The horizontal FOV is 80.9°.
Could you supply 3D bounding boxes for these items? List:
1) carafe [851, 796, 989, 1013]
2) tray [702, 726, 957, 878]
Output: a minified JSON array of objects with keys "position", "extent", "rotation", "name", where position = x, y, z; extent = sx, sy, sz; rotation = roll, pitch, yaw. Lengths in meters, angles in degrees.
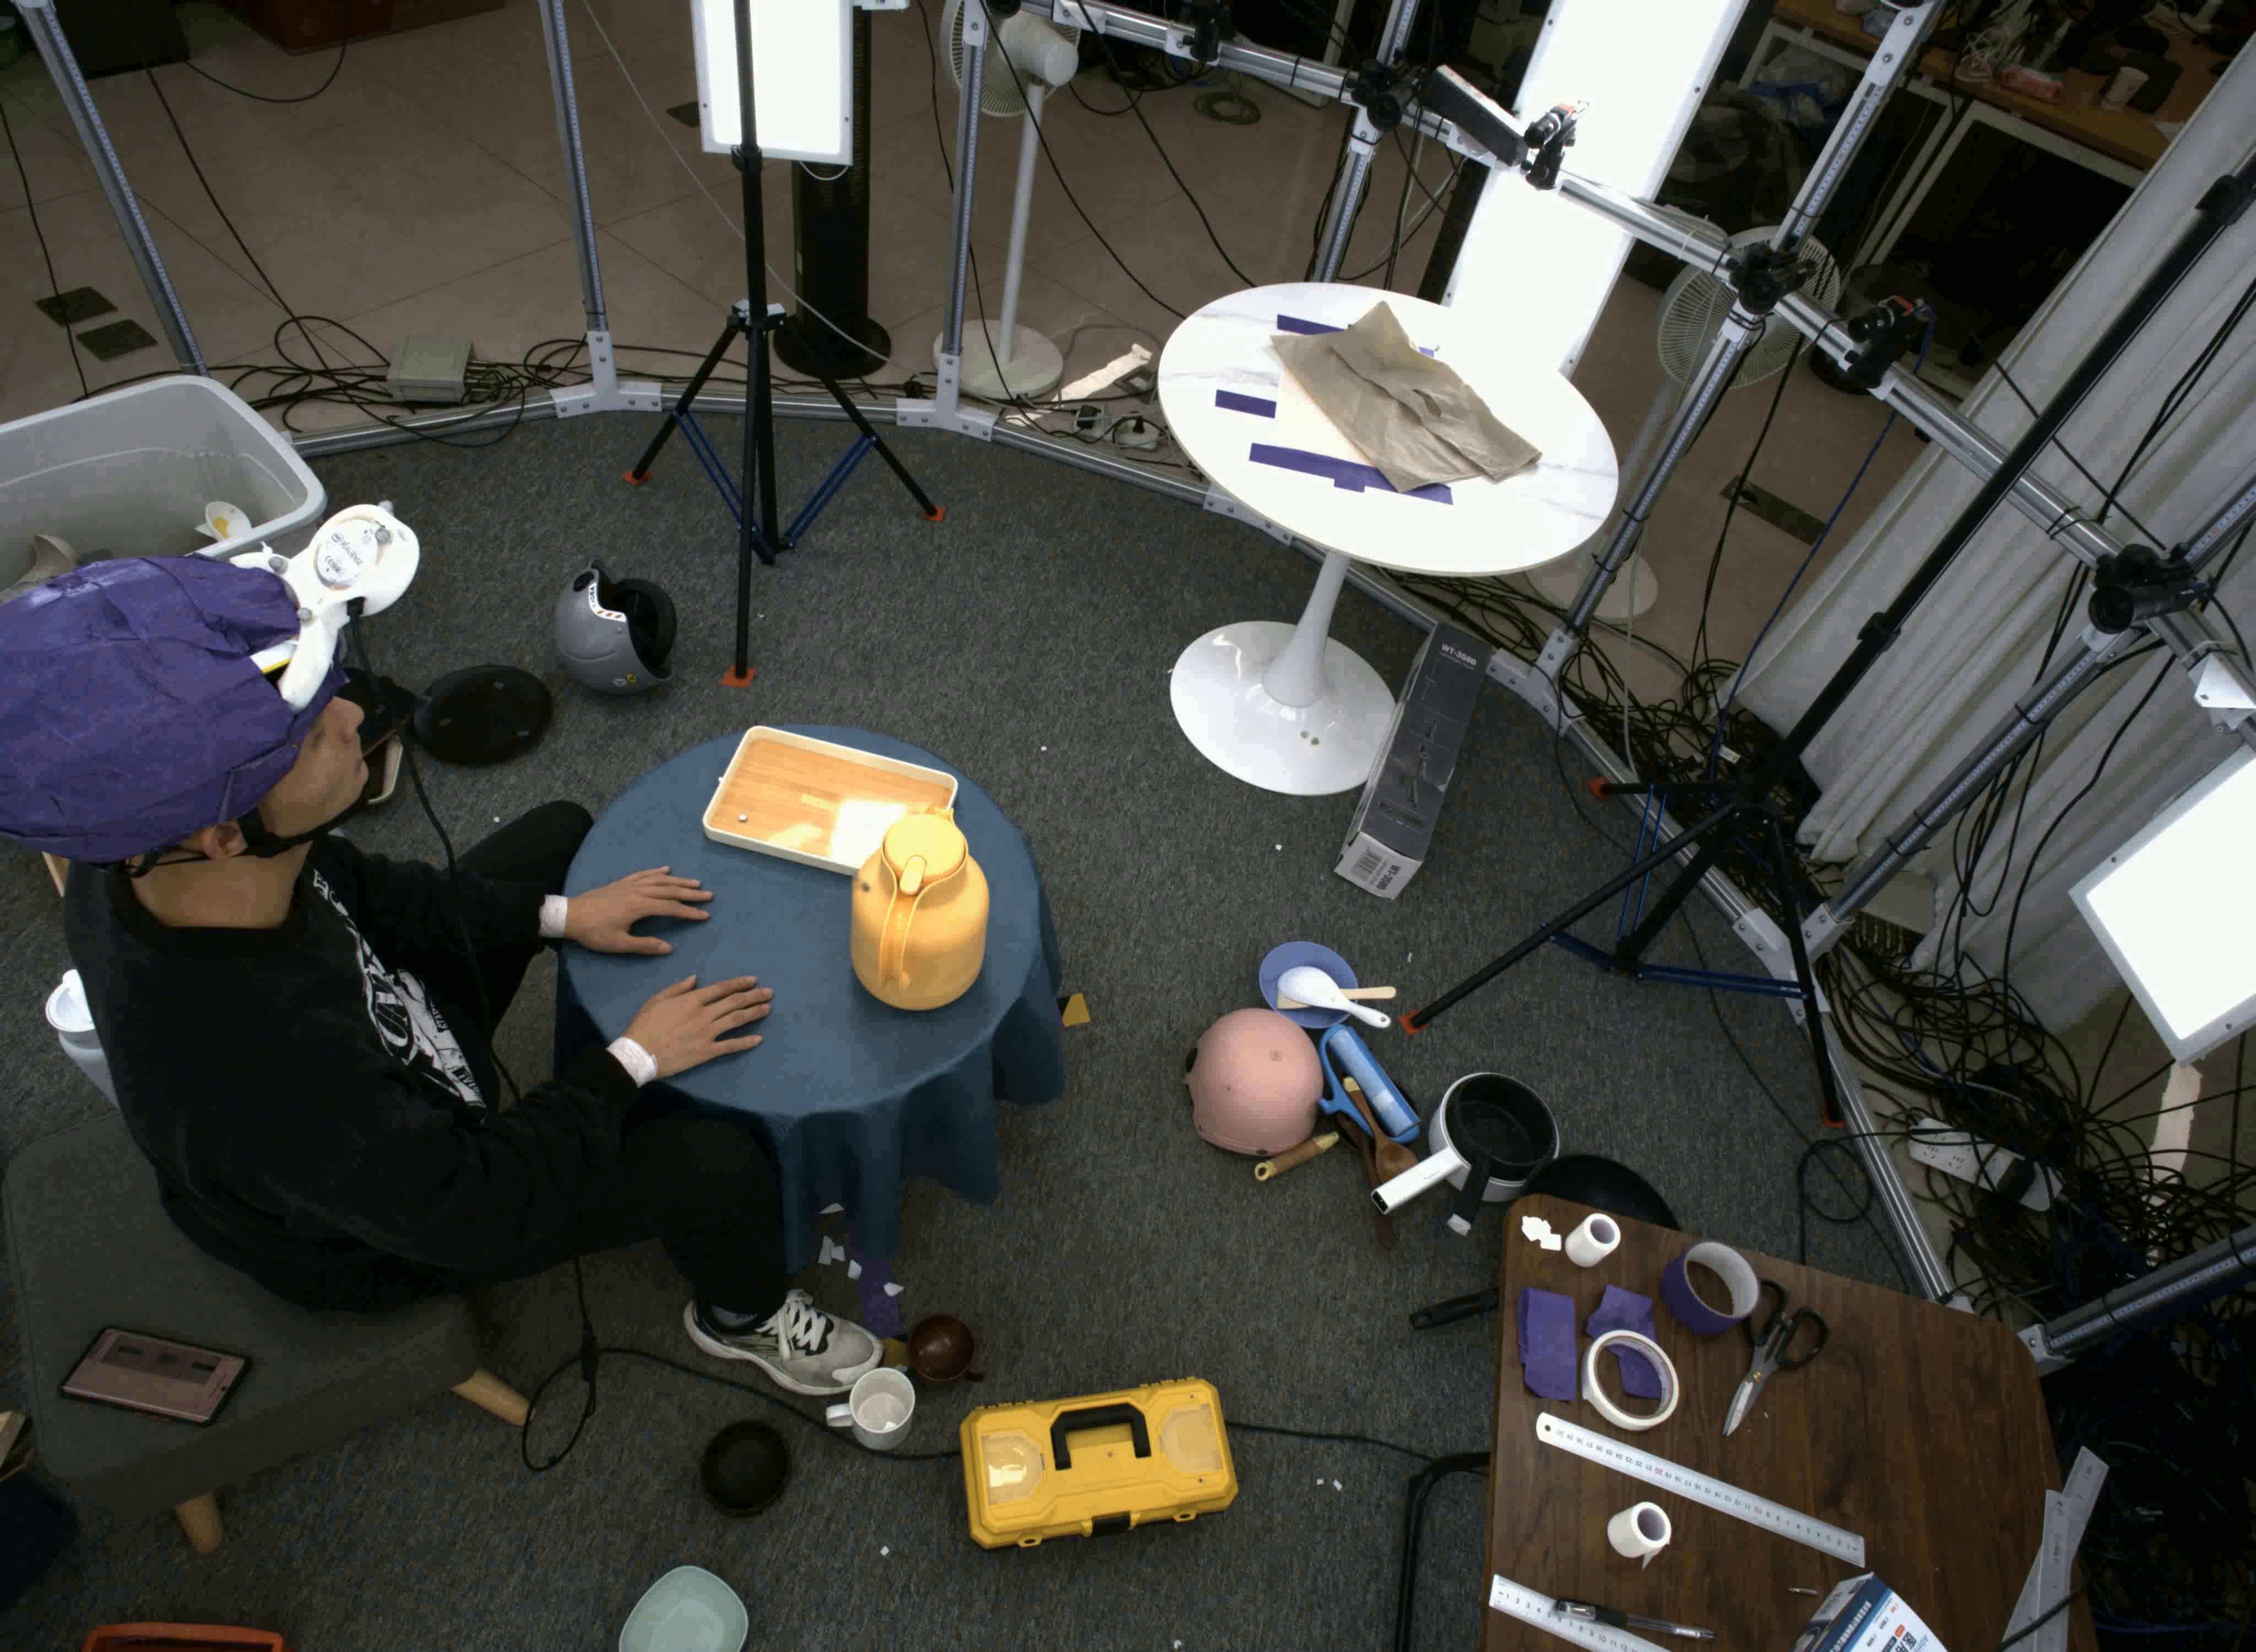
[{"position":[-0.250,0.105,1.518],"extent":[0.161,0.267,0.200],"rotation":[15,49,3],"name":"carafe"},{"position":[-0.394,-0.026,1.732],"extent":[0.298,0.028,0.189],"rotation":[15,51,-3],"name":"tray"}]
